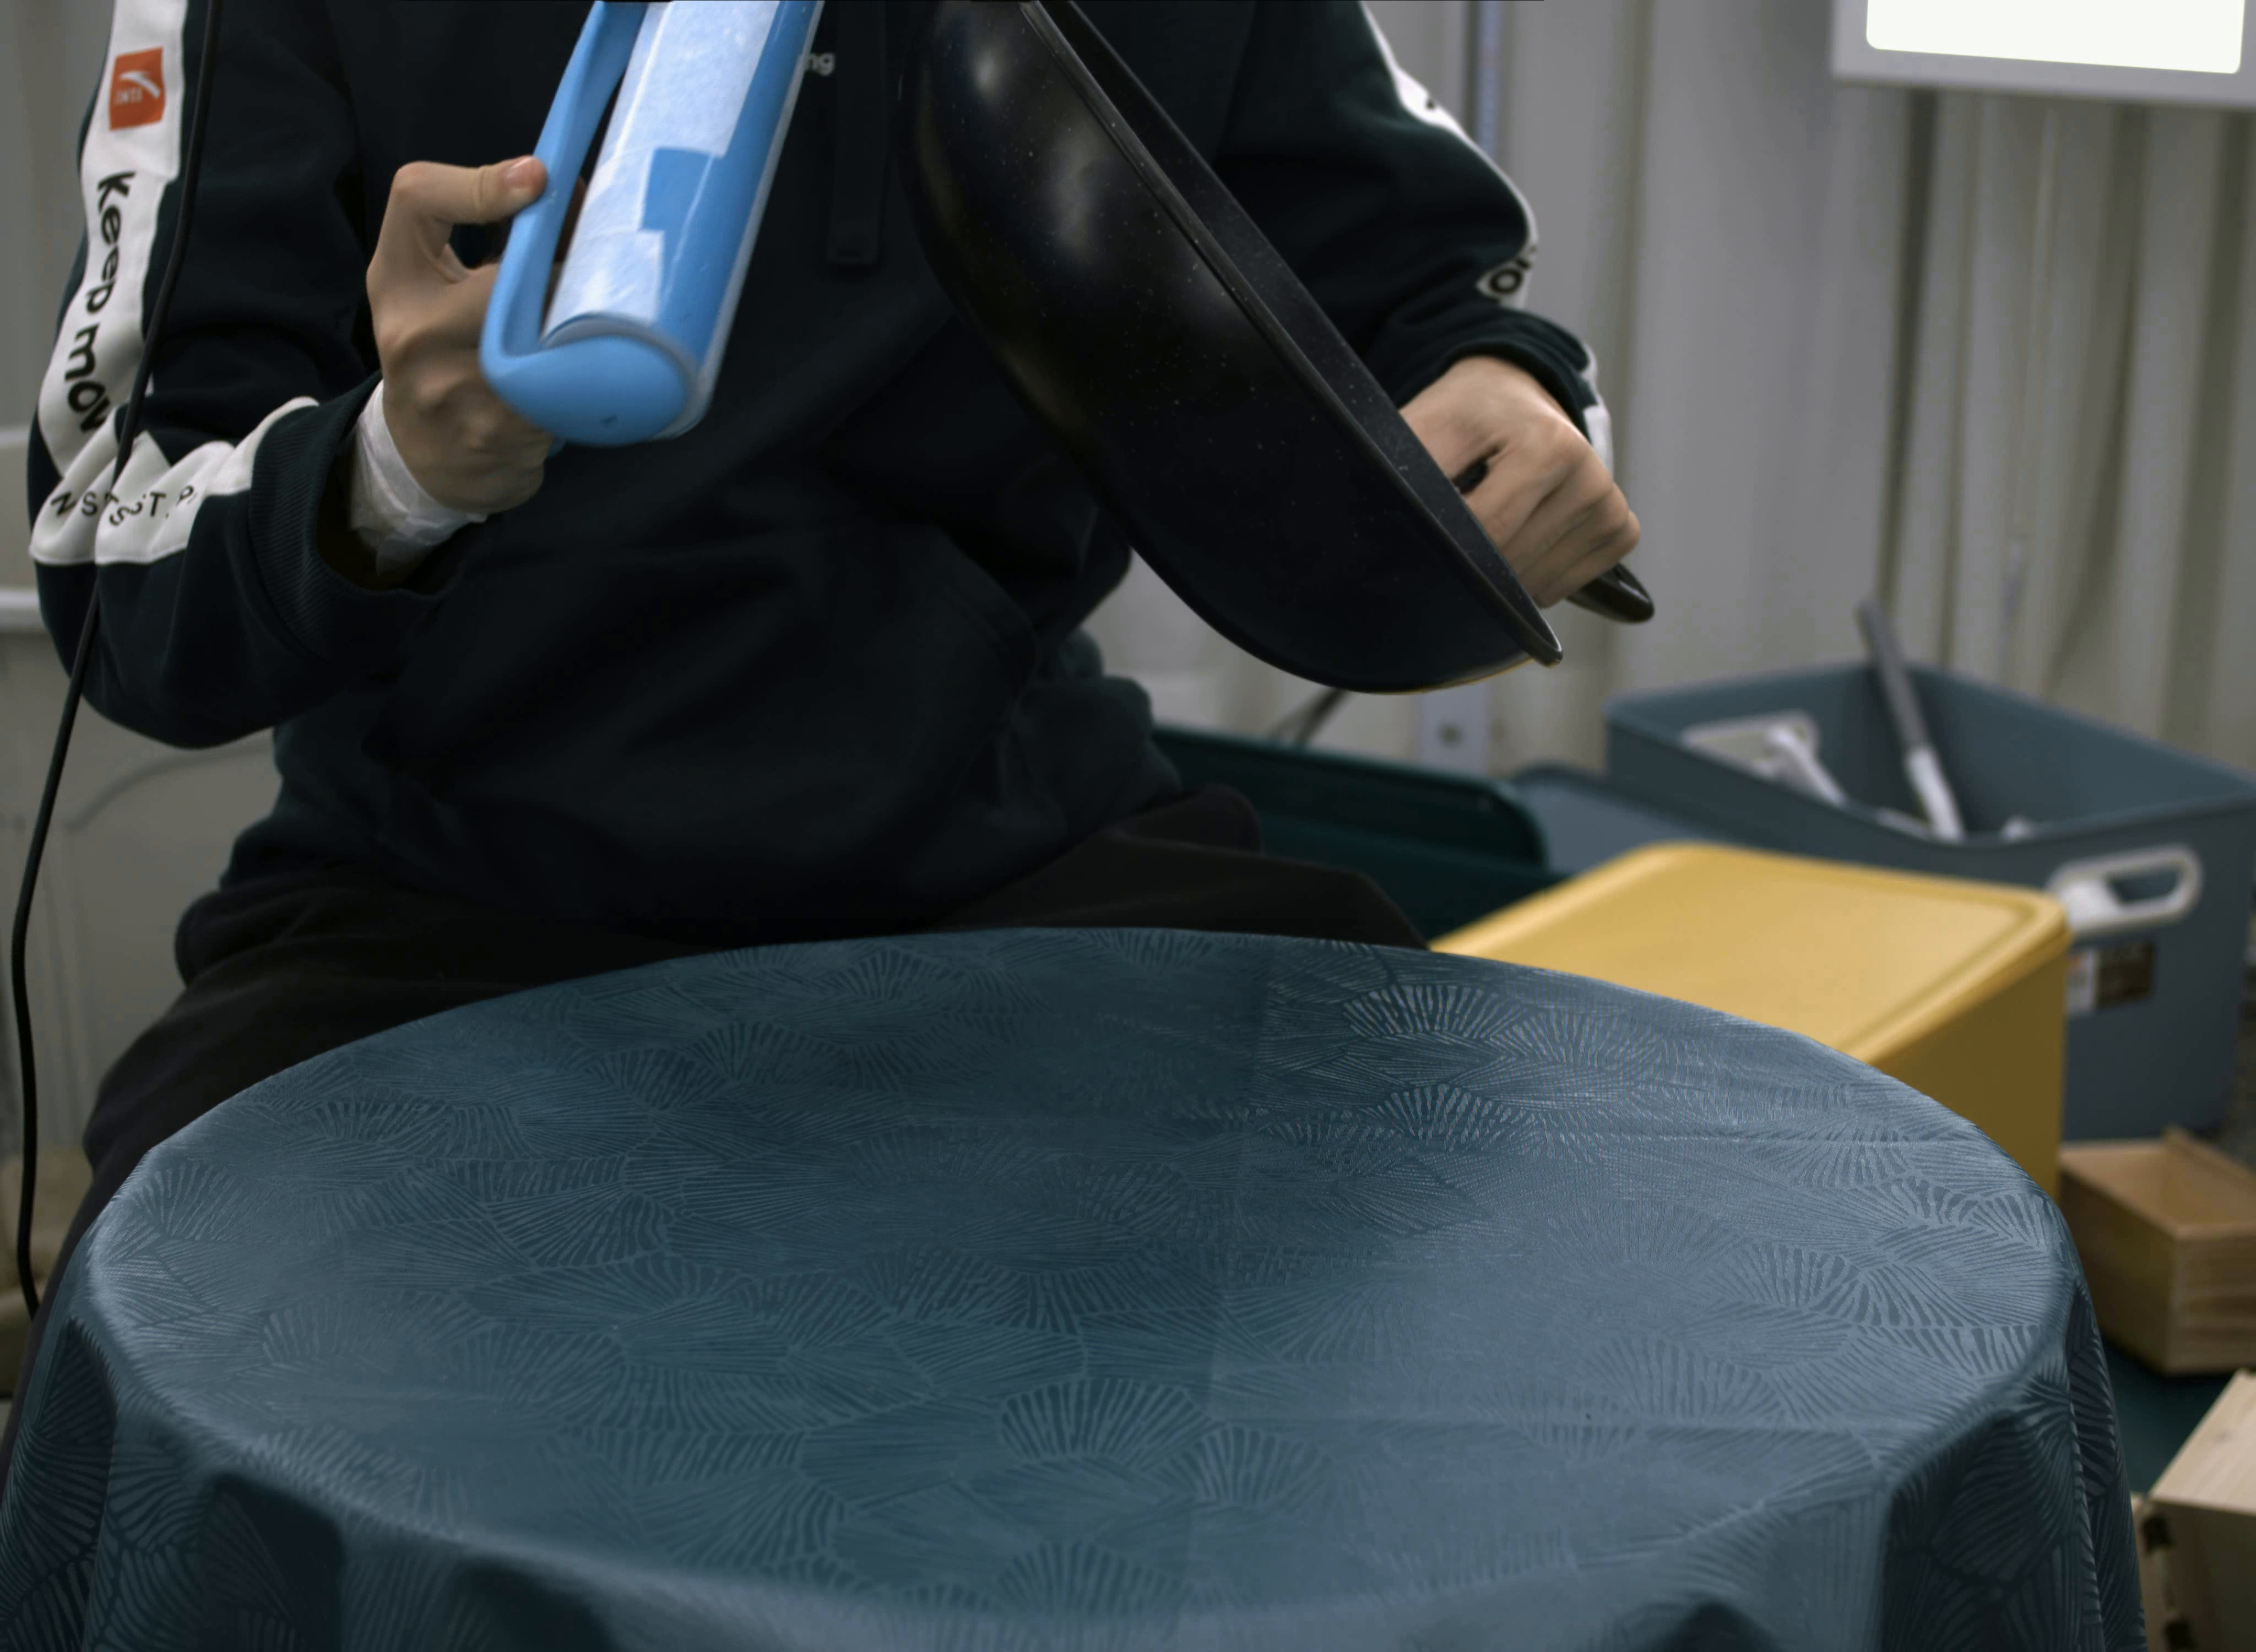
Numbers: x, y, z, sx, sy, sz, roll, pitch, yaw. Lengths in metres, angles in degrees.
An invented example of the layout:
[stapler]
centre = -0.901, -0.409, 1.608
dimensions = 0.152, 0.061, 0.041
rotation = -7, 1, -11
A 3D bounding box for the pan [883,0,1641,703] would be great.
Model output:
[pan]
centre = 0.053, -0.131, 1.781
dimensions = 0.307, 0.111, 0.482
rotation = 58, 9, 29

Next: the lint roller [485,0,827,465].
[lint roller]
centre = -0.166, -0.179, 1.662
dimensions = 0.068, 0.180, 0.227
rotation = 26, 46, -19
